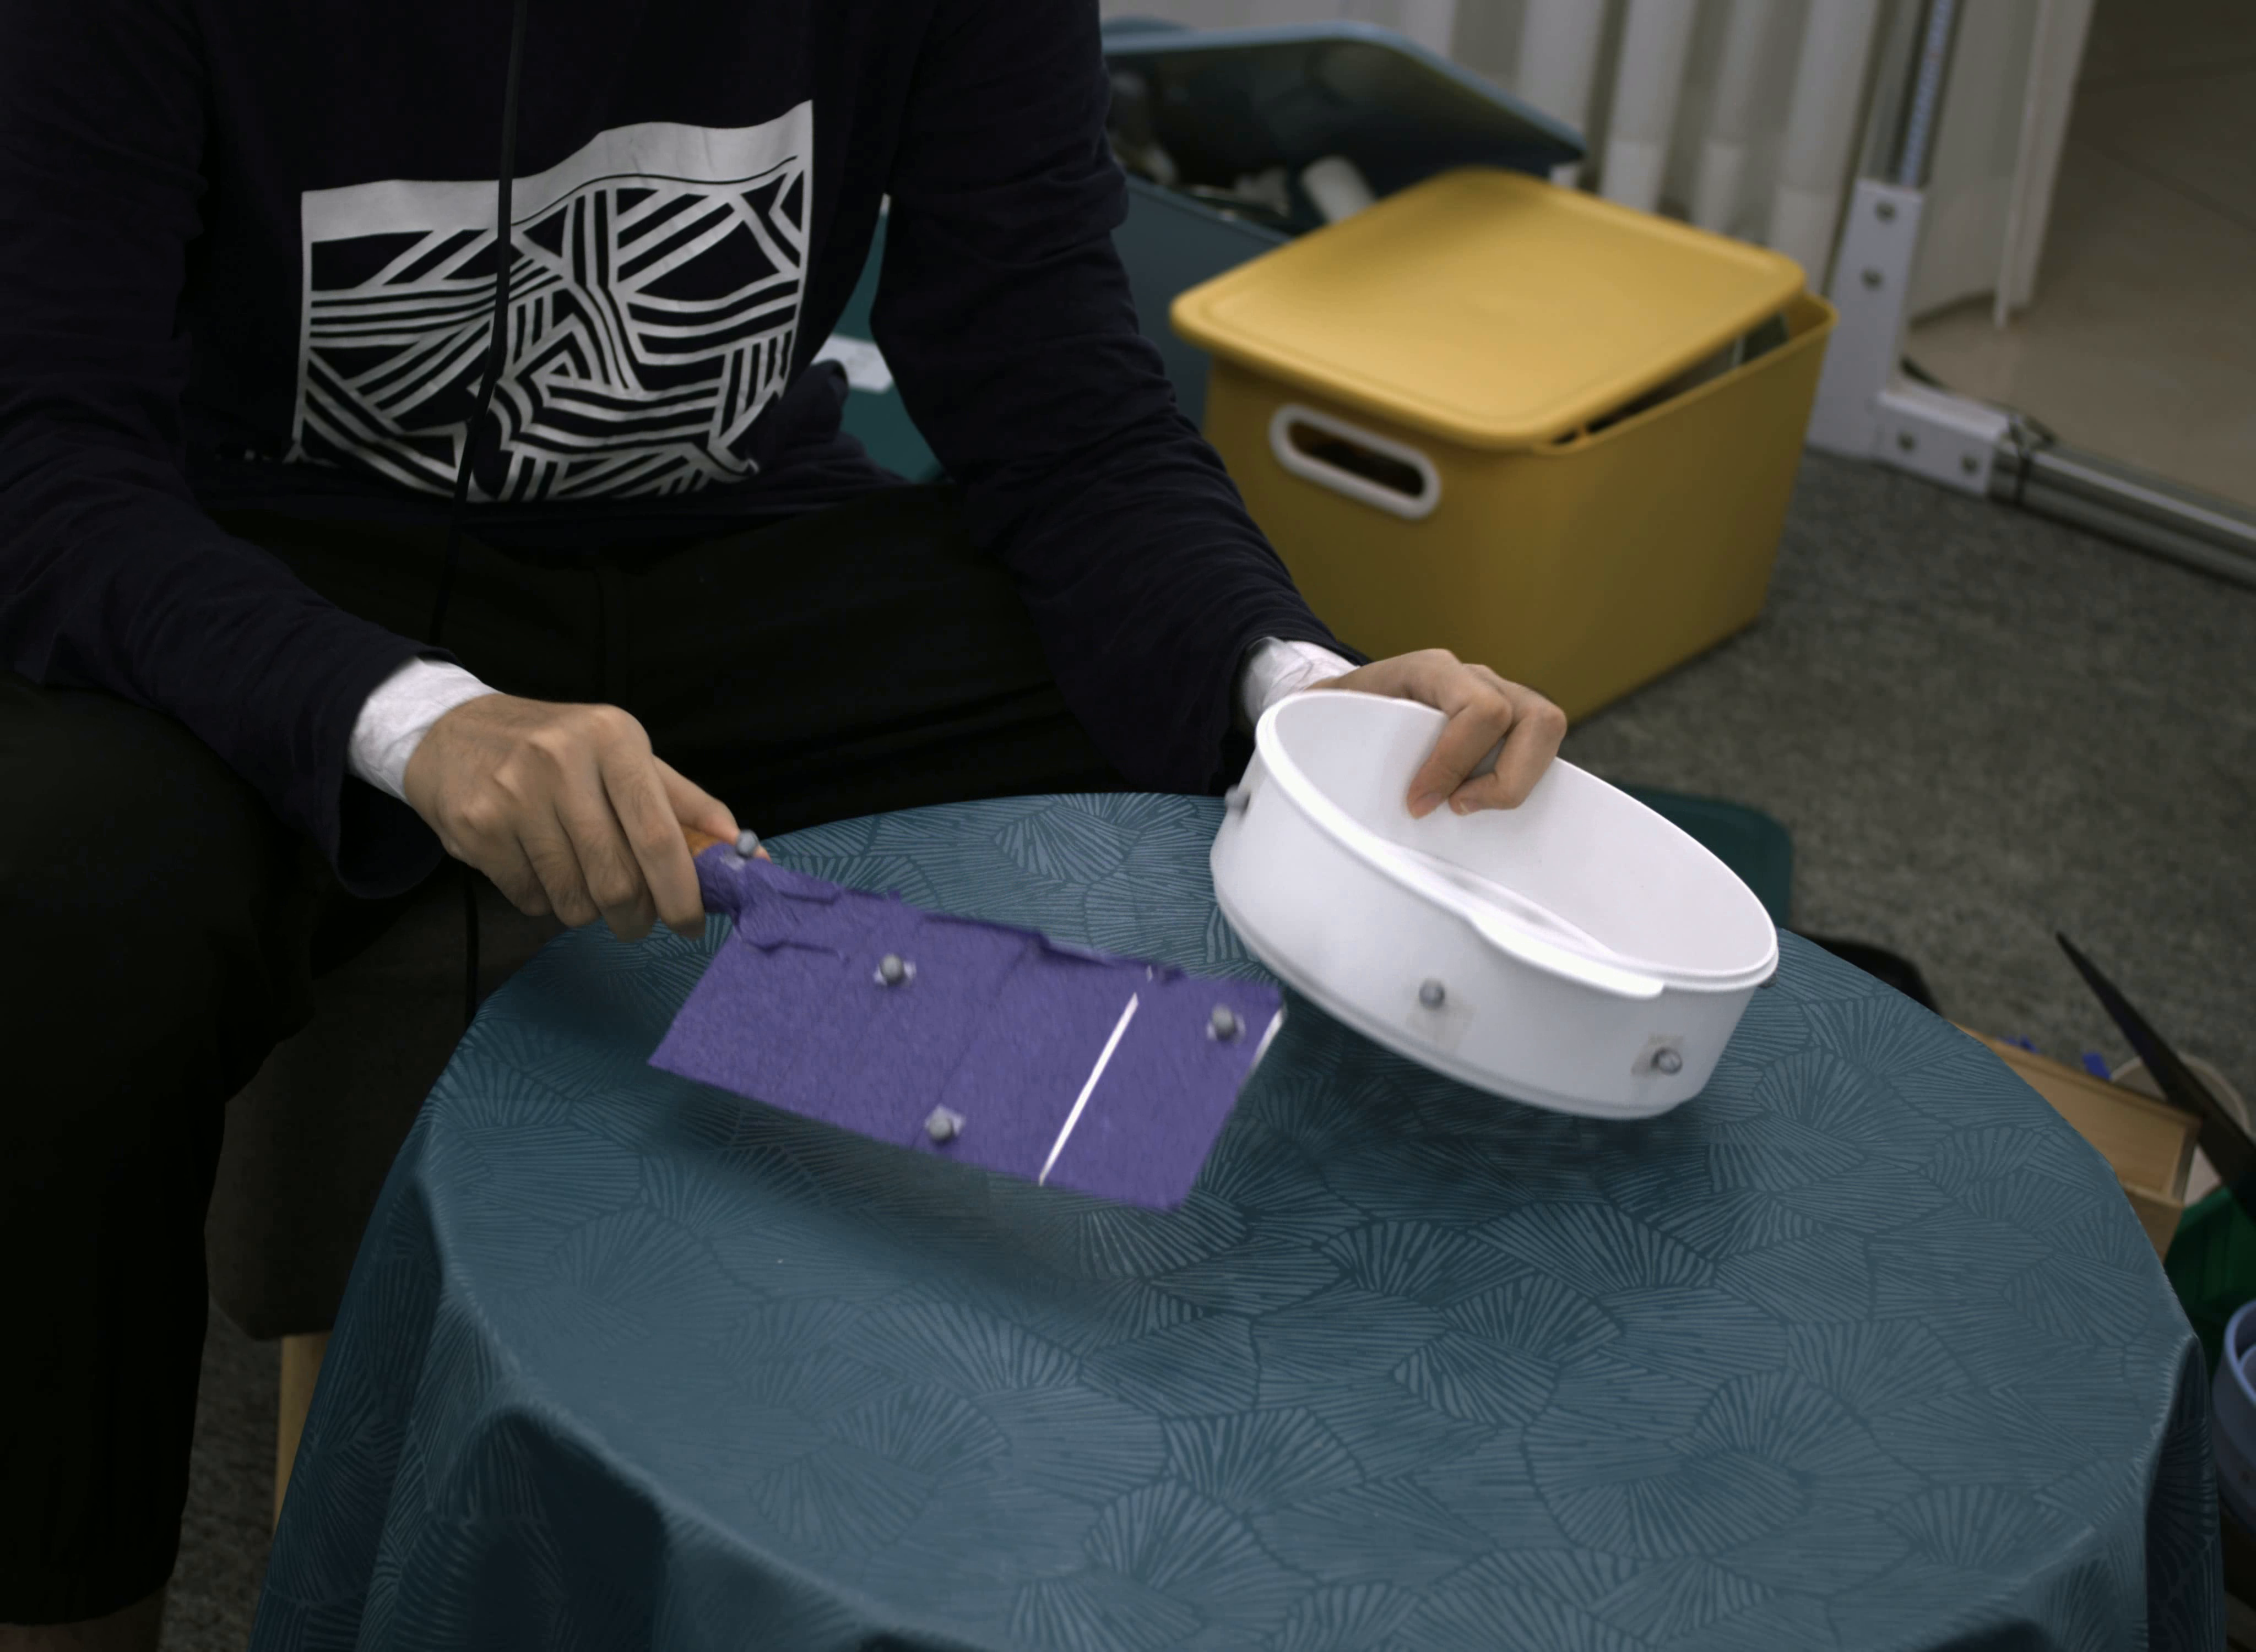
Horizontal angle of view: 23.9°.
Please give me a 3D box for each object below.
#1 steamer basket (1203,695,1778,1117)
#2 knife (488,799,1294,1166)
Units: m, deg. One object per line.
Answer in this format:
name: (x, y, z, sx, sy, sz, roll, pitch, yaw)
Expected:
steamer basket: (0.126, 0.030, 1.872, 0.201, 0.069, 0.232, 22, 15, -14)
knife: (-0.099, 0.051, 1.795, 0.317, 0.032, 0.104, 11, 55, 30)
